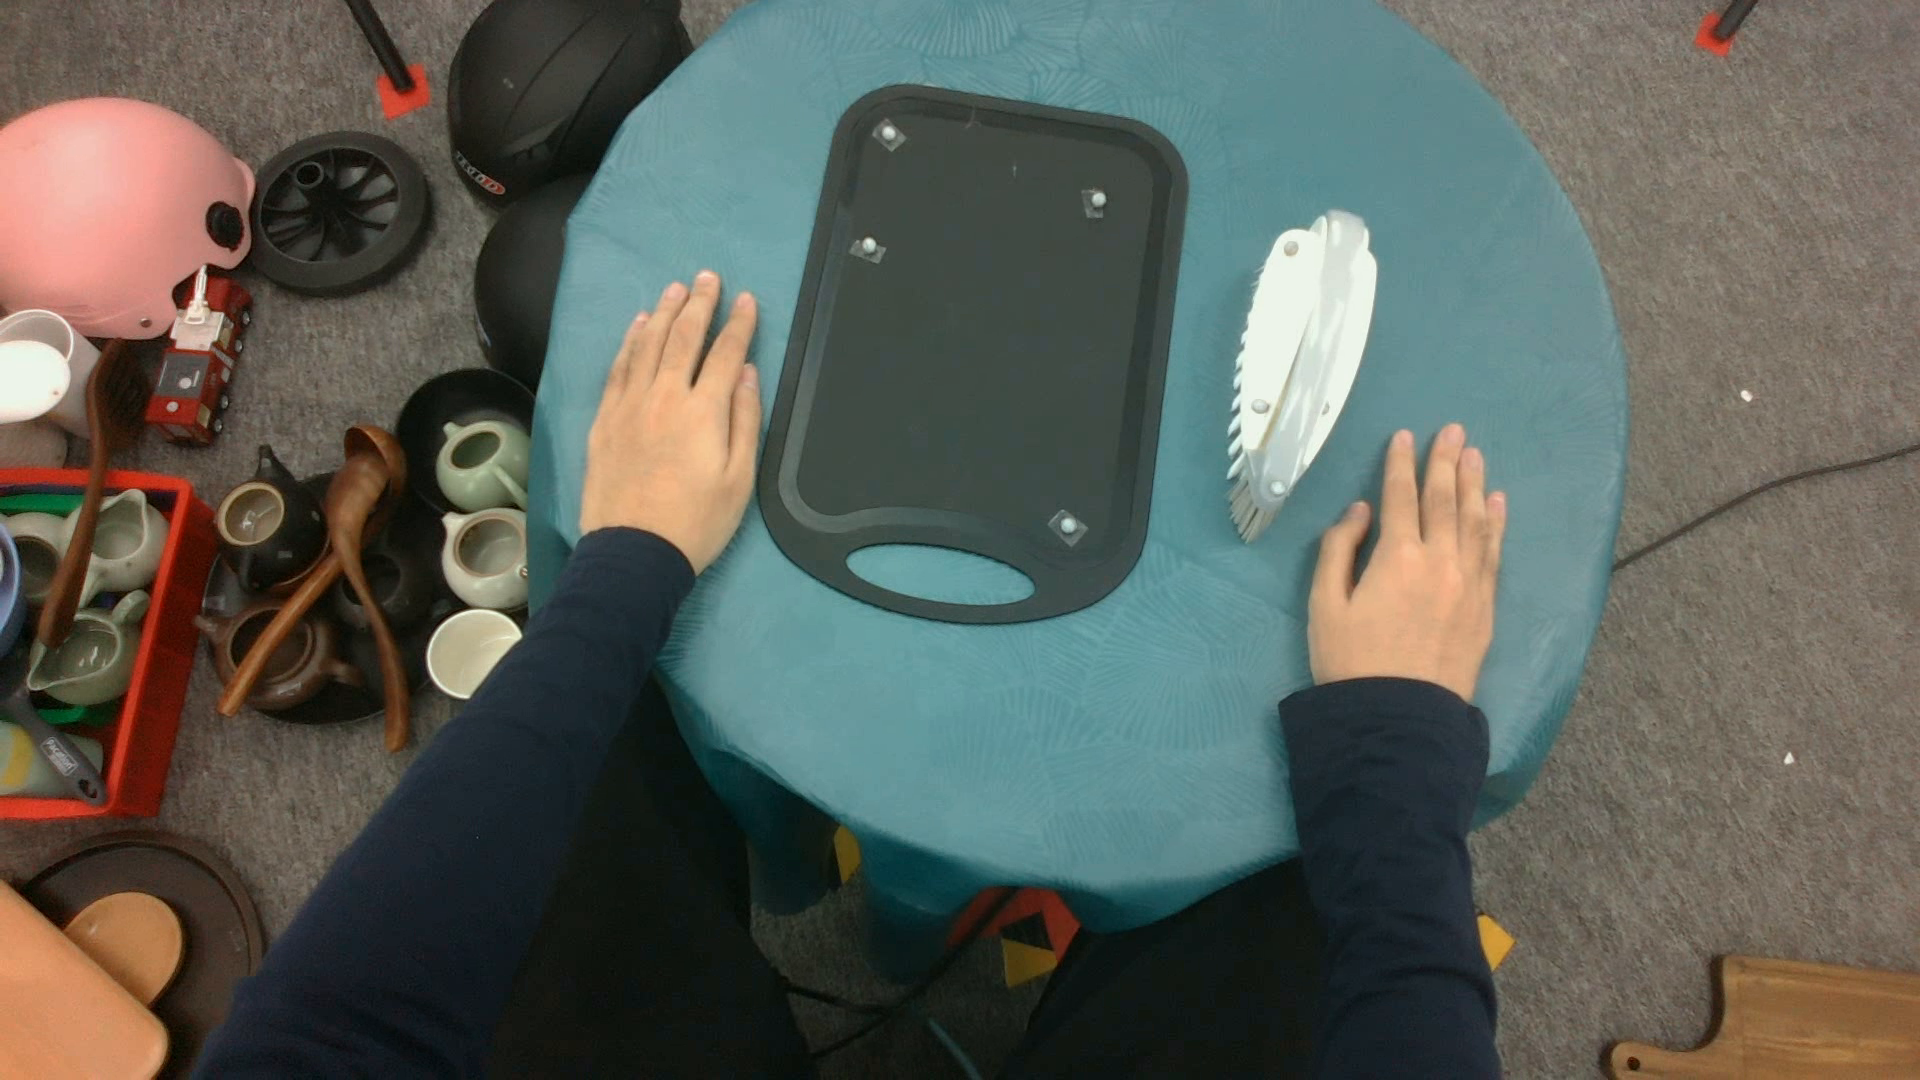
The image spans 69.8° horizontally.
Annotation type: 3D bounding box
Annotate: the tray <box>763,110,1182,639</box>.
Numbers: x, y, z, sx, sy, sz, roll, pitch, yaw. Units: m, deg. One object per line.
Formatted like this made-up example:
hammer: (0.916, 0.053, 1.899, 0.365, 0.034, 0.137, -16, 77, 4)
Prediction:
tray: (0.012, -0.102, 0.775, 0.211, 0.010, 0.326, 8, 69, 2)

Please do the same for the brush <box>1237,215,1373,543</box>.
brush: (0.181, -0.091, 0.729, 0.061, 0.094, 0.176, 14, 72, 6)
